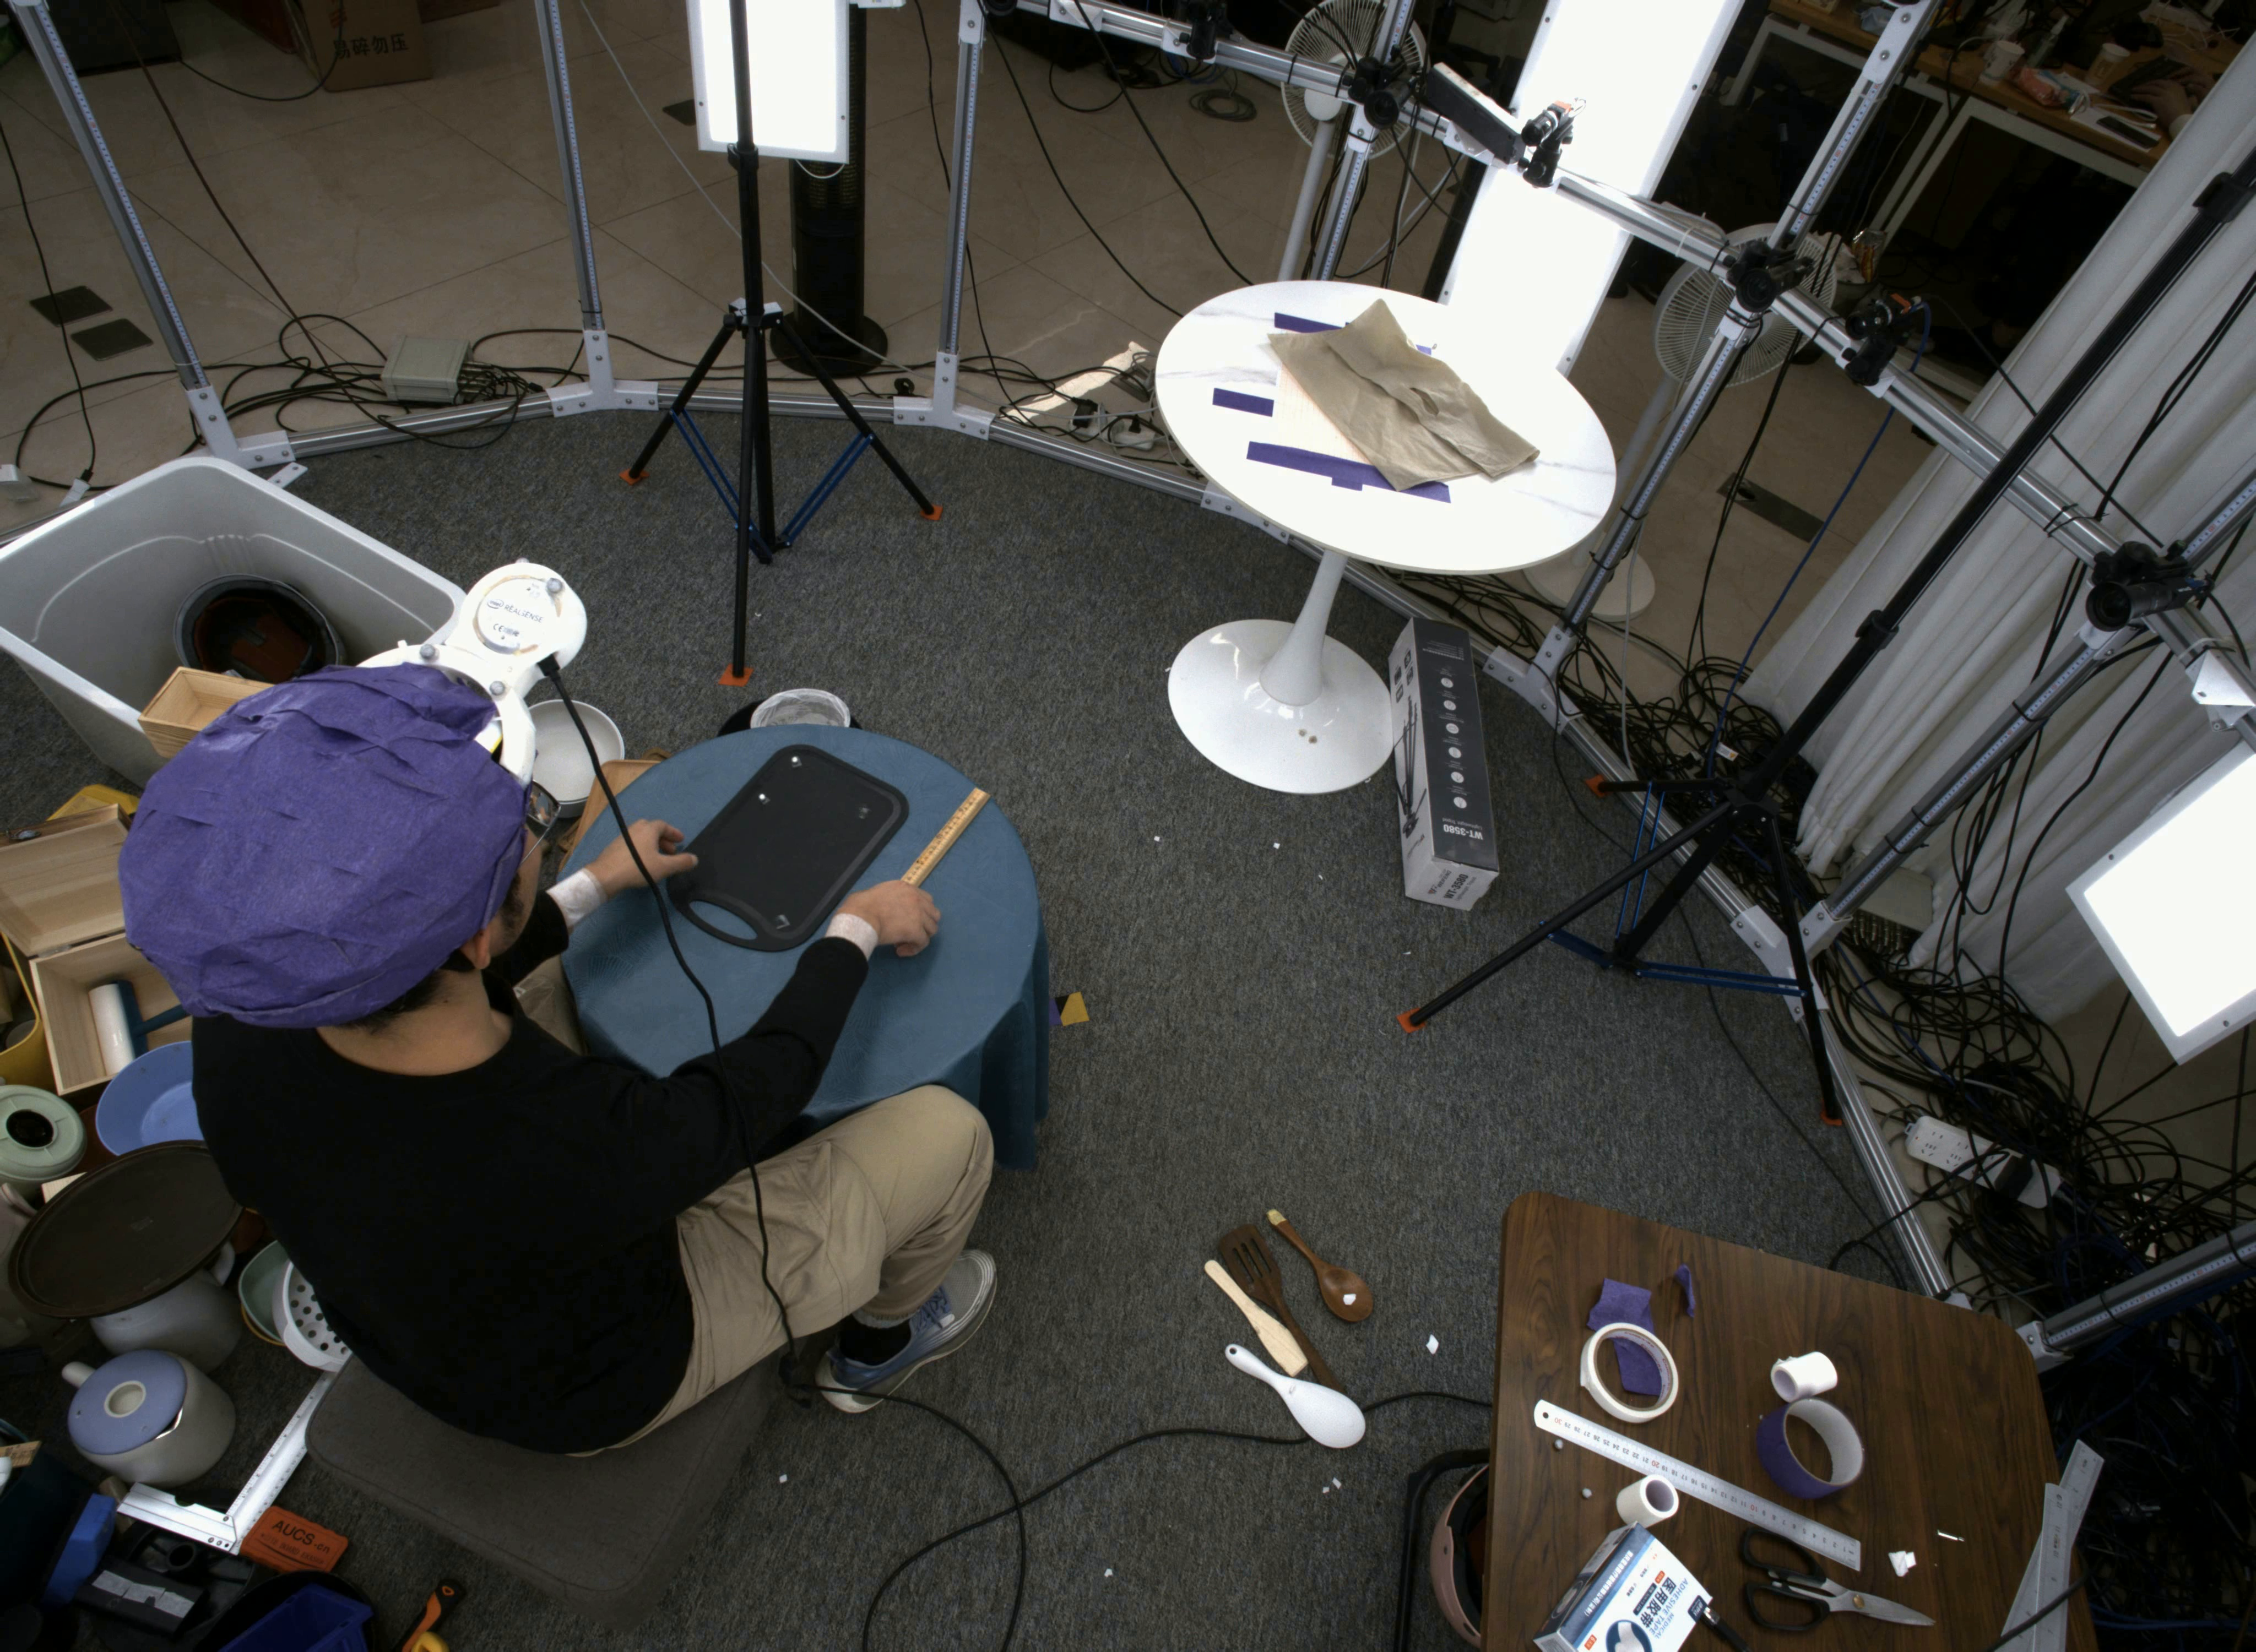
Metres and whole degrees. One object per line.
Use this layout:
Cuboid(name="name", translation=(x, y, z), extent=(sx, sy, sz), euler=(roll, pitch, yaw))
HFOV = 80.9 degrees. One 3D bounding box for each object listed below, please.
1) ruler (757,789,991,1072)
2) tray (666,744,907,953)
Cuboid(name="ruler", translation=(-0.313, 0.115, 1.659), extent=(0.026, 0.006, 0.498), euler=(26, 52, 11))
Cuboid(name="tray", translation=(-0.445, 0.025, 1.690), extent=(0.208, 0.010, 0.324), euler=(28, 52, 7))
